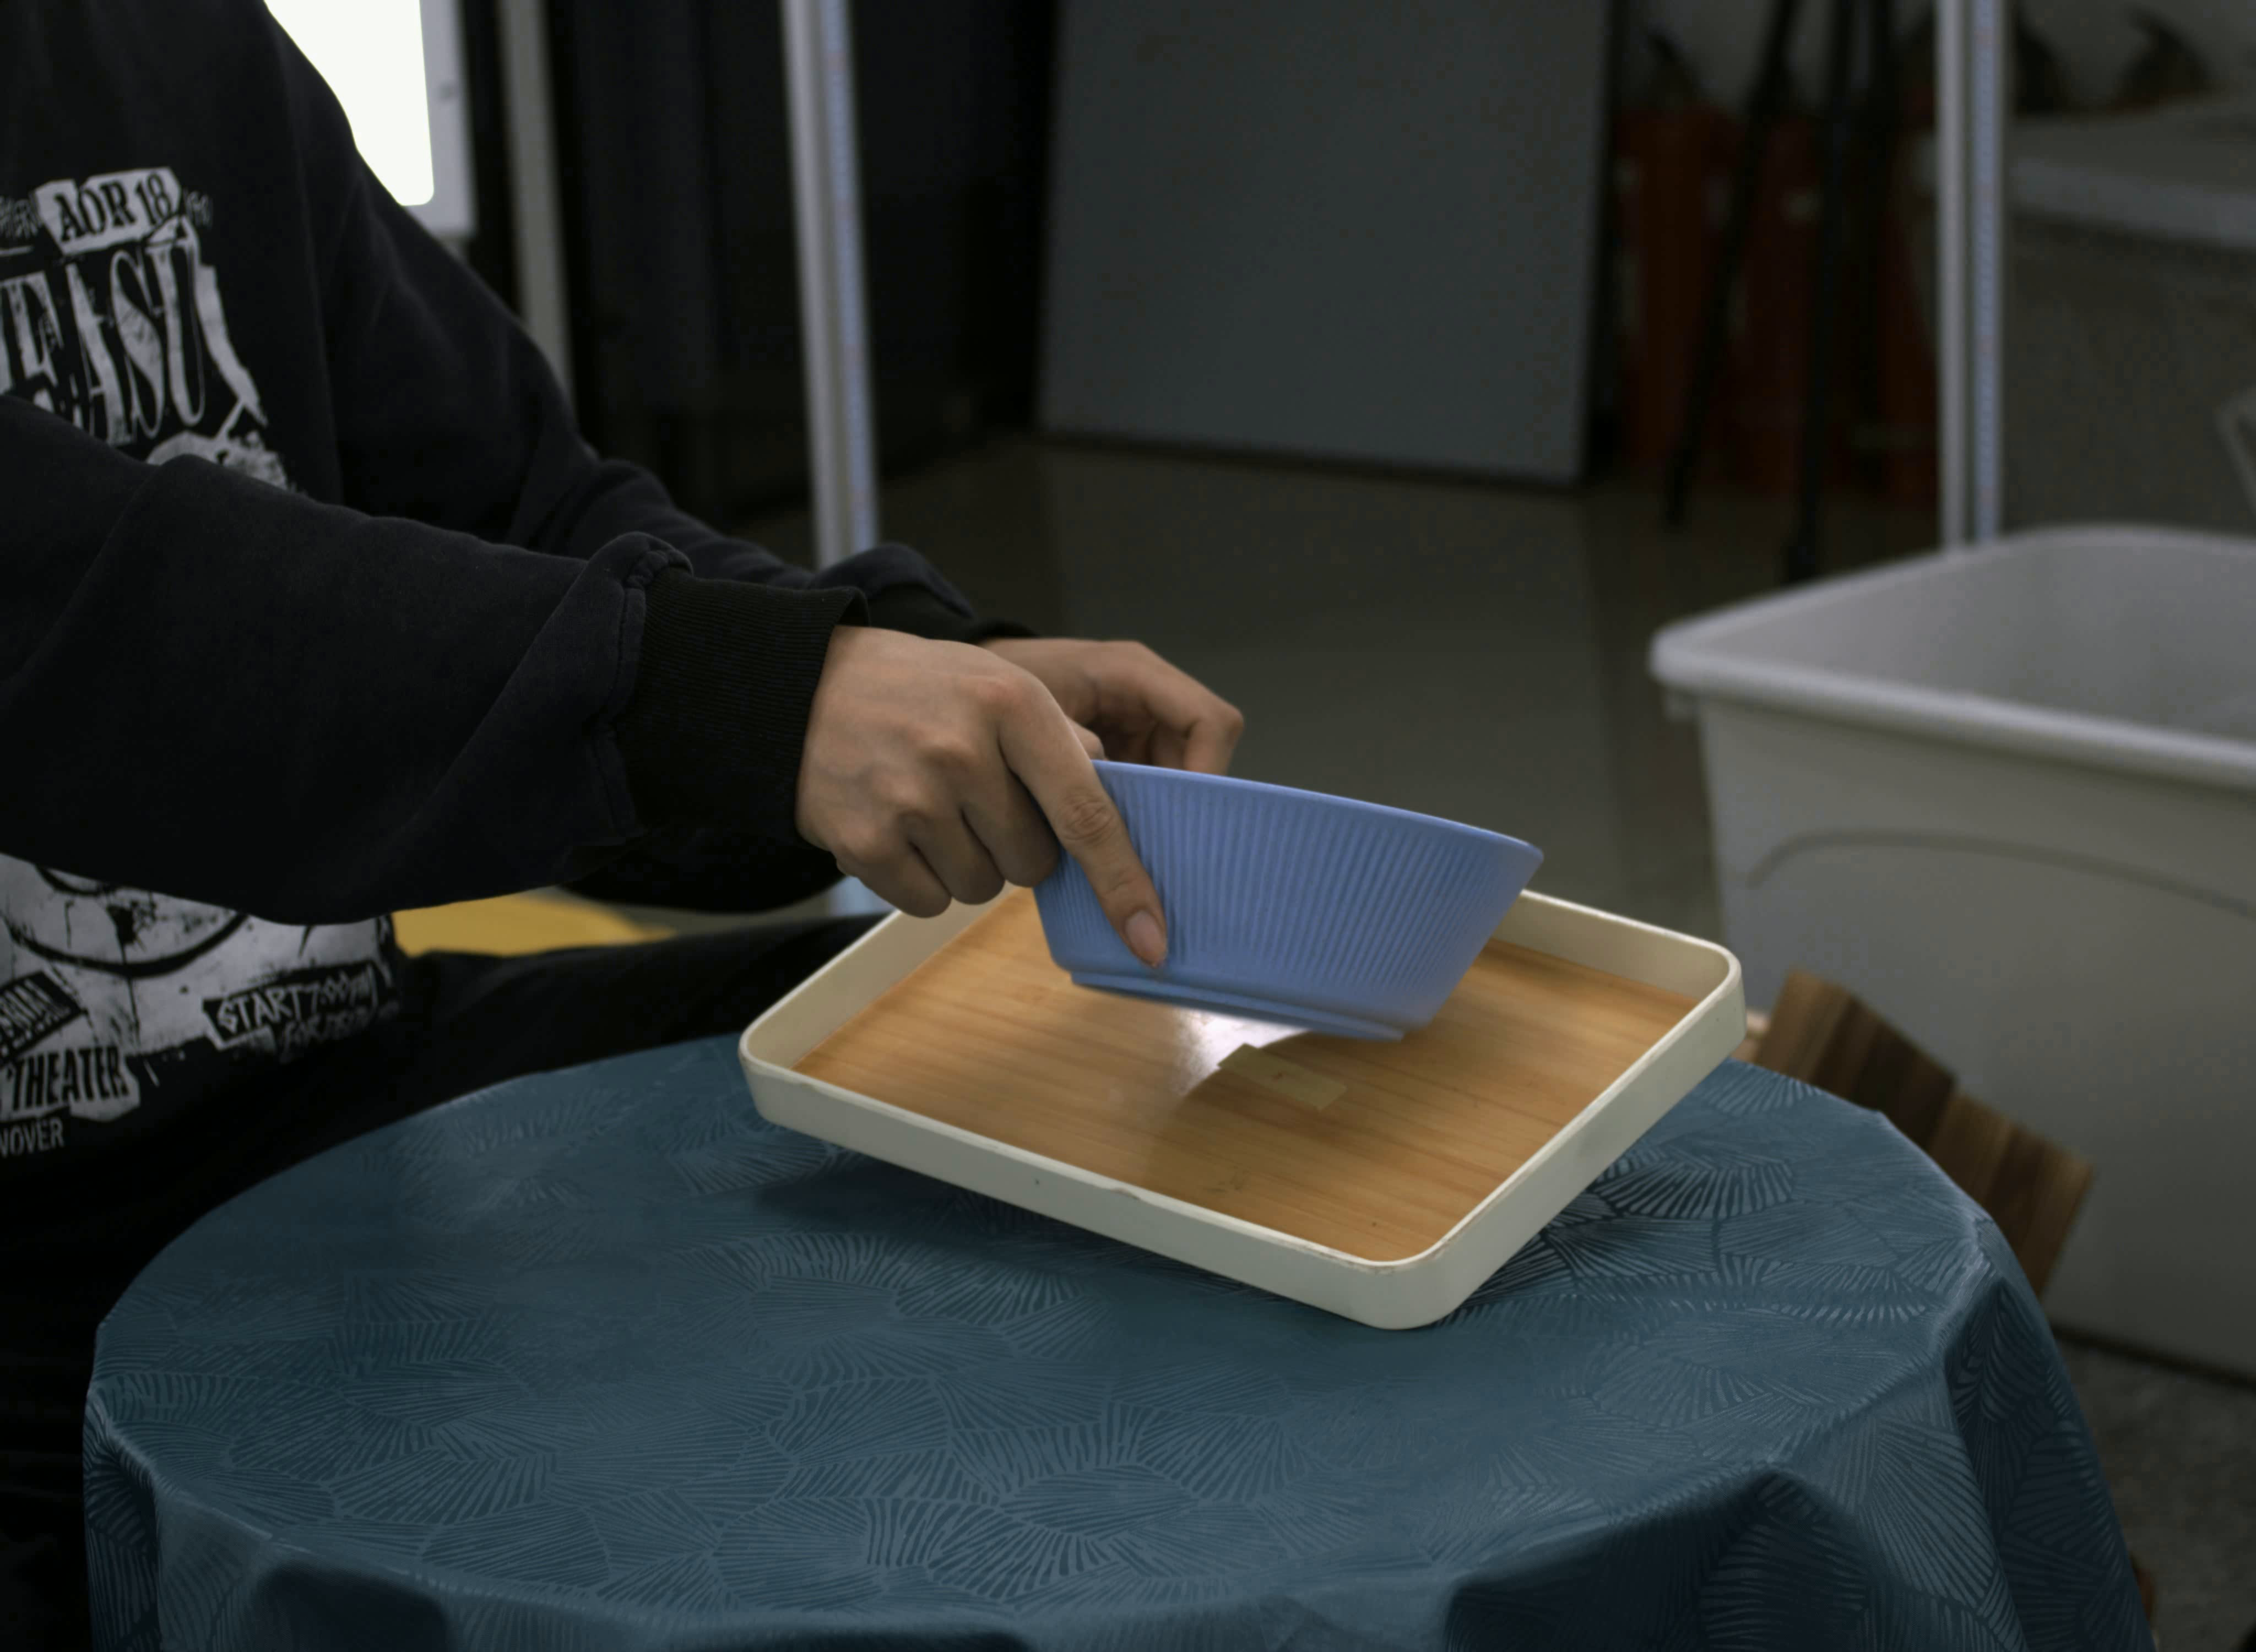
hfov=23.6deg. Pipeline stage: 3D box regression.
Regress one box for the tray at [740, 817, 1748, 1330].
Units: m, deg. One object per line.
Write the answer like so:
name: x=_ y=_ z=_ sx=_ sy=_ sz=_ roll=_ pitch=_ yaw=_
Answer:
tray: x=0.035 y=0.069 z=1.760 sx=0.303 sy=0.027 sz=0.189 roll=15 pitch=41 yaw=41

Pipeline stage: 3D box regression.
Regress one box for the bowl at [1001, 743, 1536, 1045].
bowl: x=0.039 y=0.025 z=1.708 sx=0.174 sy=0.071 sz=0.176 roll=11 pitch=-7 yaw=0
